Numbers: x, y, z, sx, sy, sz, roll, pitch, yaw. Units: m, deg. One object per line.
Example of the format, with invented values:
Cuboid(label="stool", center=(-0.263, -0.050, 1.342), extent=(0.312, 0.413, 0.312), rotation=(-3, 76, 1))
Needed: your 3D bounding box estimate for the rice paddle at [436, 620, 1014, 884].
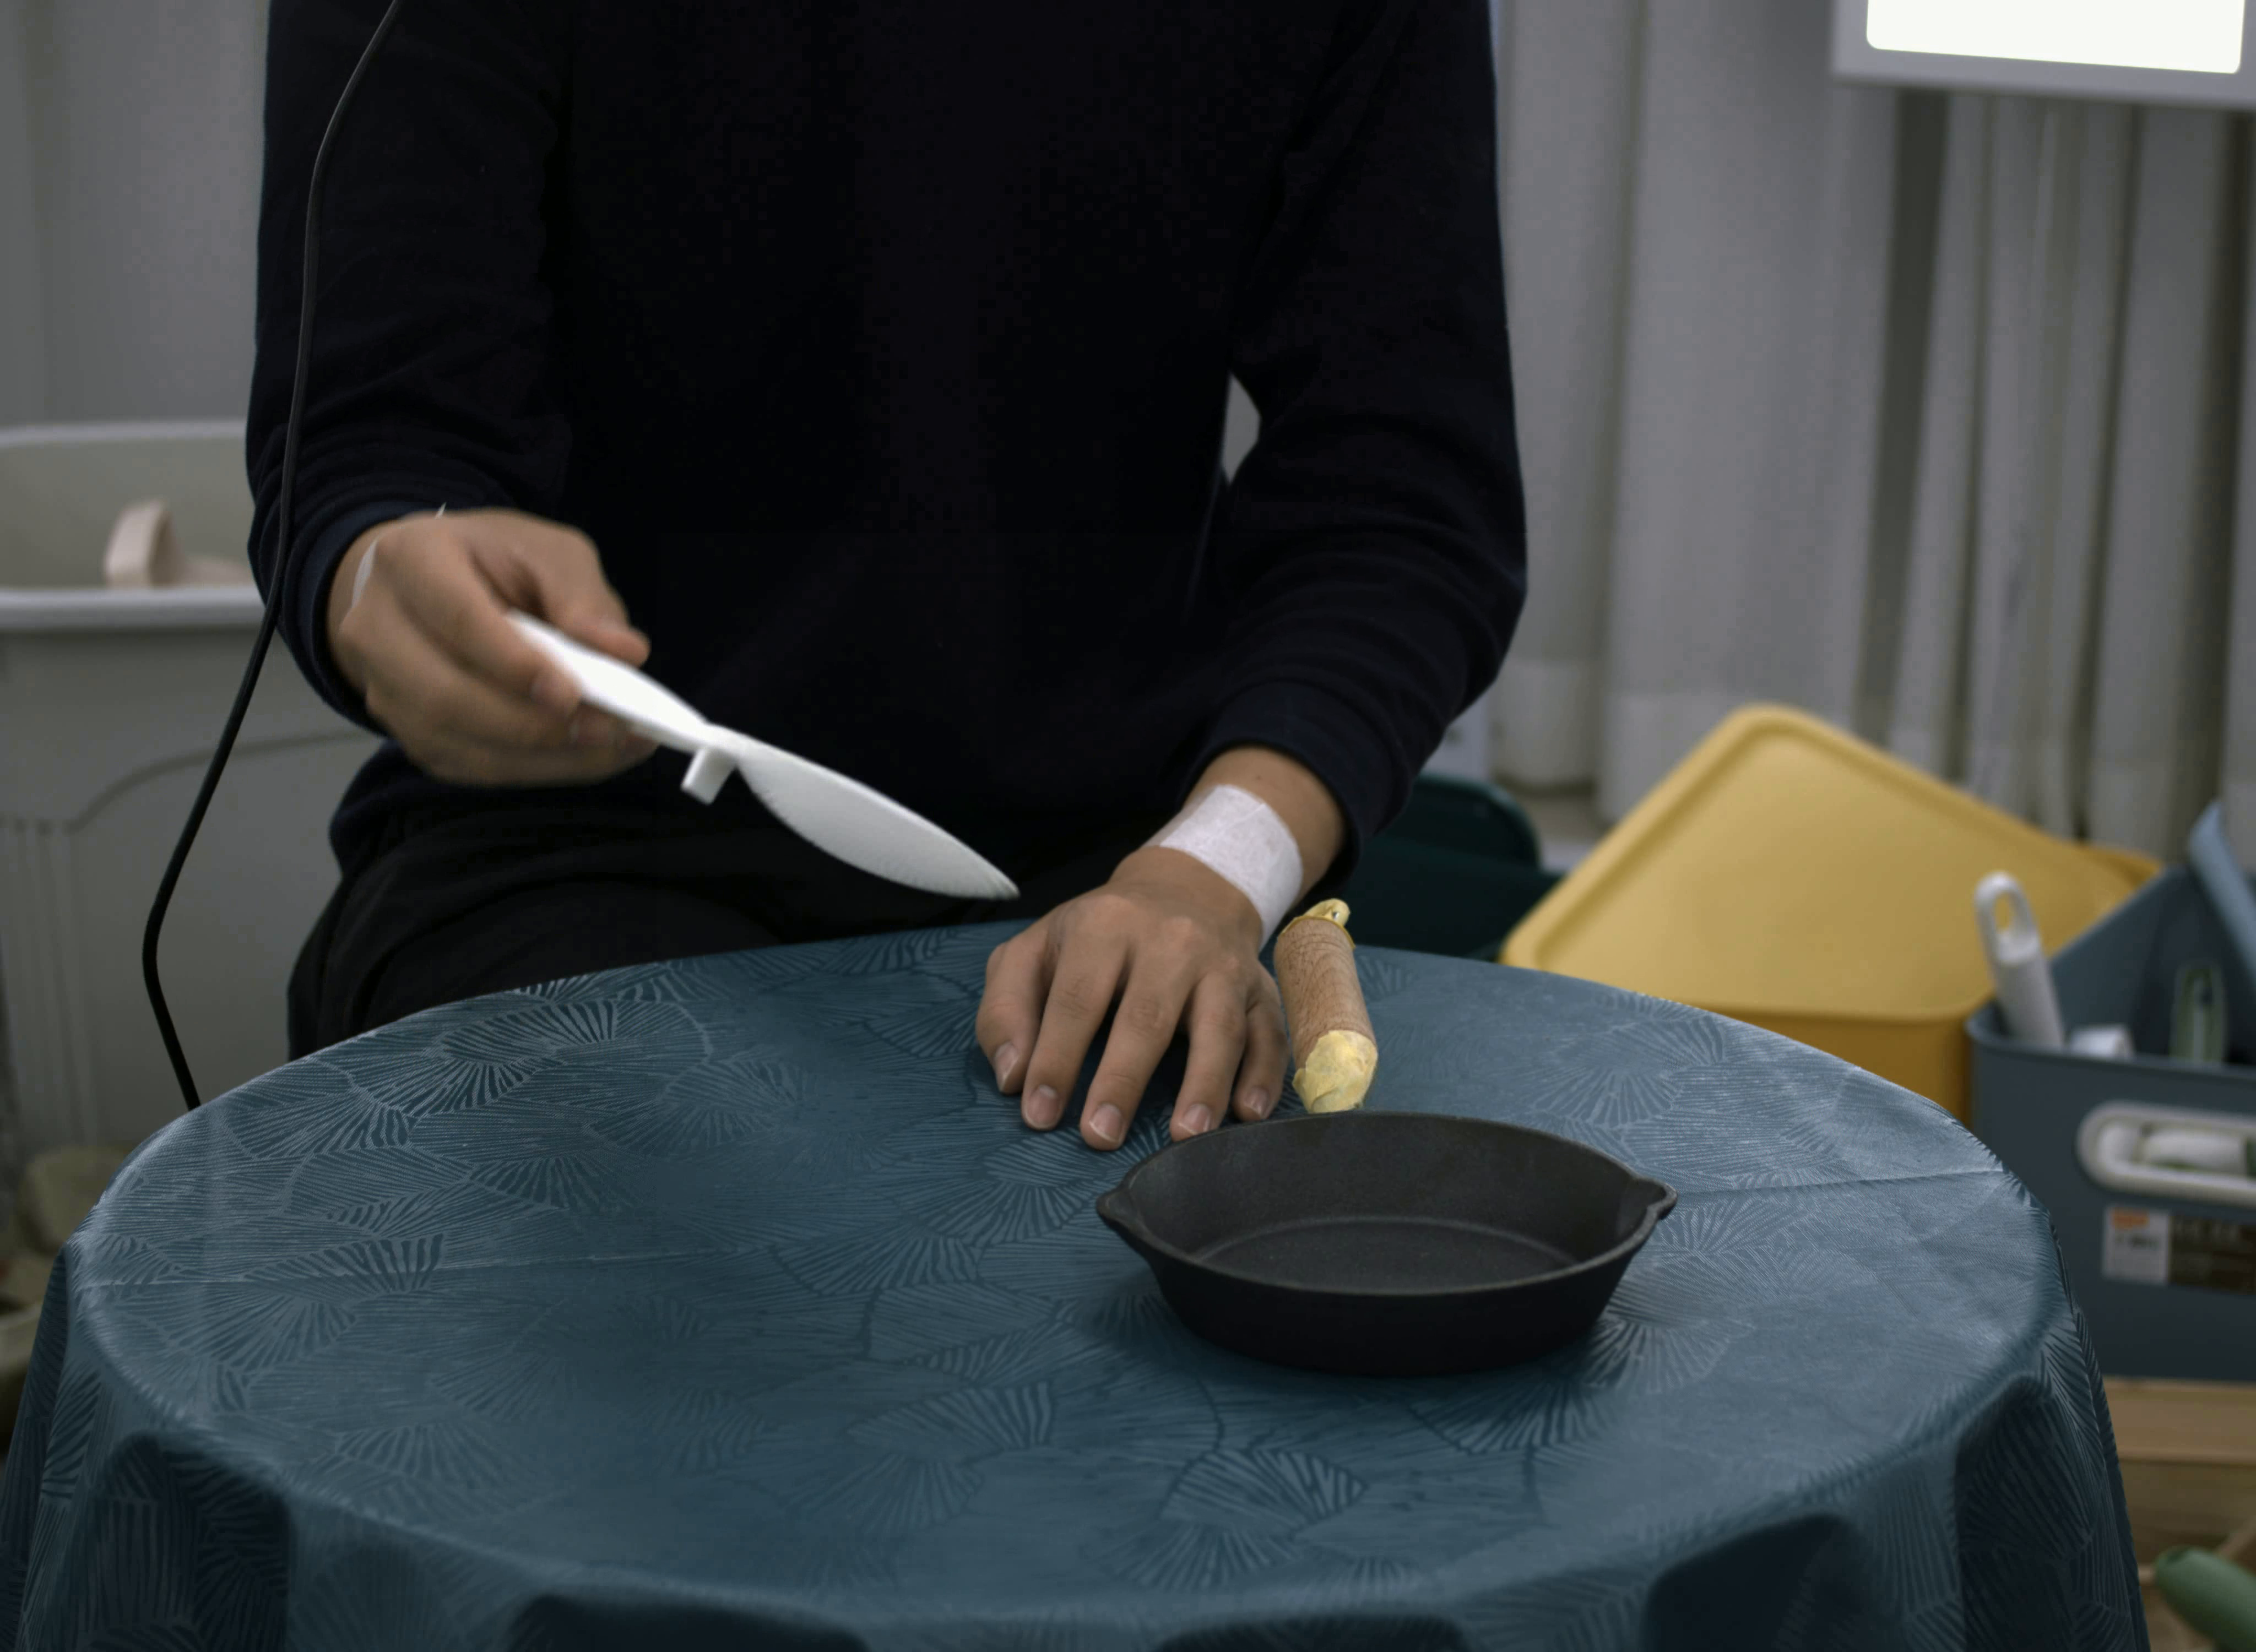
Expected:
Cuboid(label="rice paddle", center=(-0.111, -0.019, 1.459), extent=(0.202, 0.029, 0.069), rotation=(19, -7, 36))

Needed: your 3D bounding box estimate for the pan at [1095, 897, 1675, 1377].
Cuboid(label="pan", center=(0.071, 0.091, 1.606), extent=(0.168, 0.050, 0.322), rotation=(0, 17, -2))
